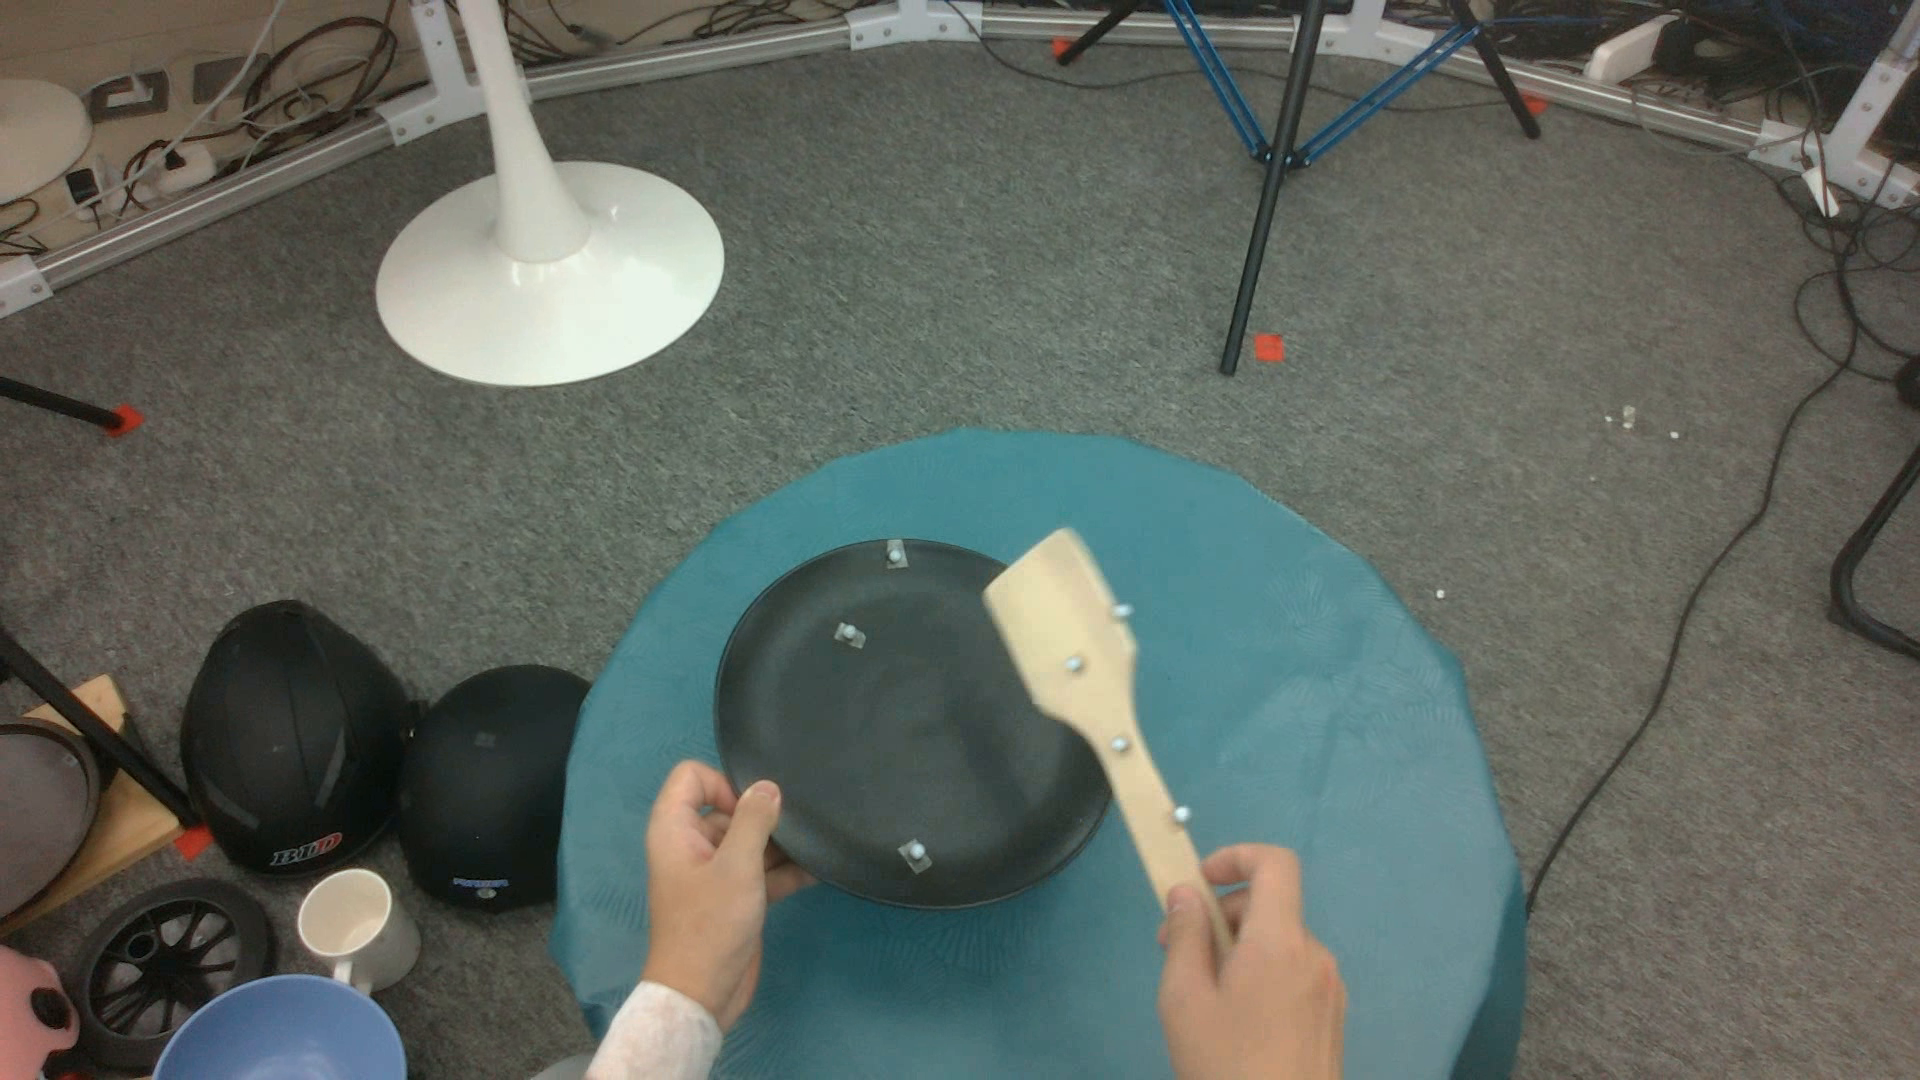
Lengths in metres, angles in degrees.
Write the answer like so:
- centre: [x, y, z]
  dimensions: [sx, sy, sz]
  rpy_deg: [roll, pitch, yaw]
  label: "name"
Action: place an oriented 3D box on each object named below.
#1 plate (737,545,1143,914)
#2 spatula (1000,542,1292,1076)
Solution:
- centre: [-0.010, 0.107, 0.818]
  dimensions: [0.244, 0.023, 0.245]
  rpy_deg: [7, 52, -10]
  label: "plate"
- centre: [0.098, 0.134, 0.721]
  dimensions: [0.010, 0.072, 0.294]
  rpy_deg: [14, 43, -47]
  label: "spatula"
